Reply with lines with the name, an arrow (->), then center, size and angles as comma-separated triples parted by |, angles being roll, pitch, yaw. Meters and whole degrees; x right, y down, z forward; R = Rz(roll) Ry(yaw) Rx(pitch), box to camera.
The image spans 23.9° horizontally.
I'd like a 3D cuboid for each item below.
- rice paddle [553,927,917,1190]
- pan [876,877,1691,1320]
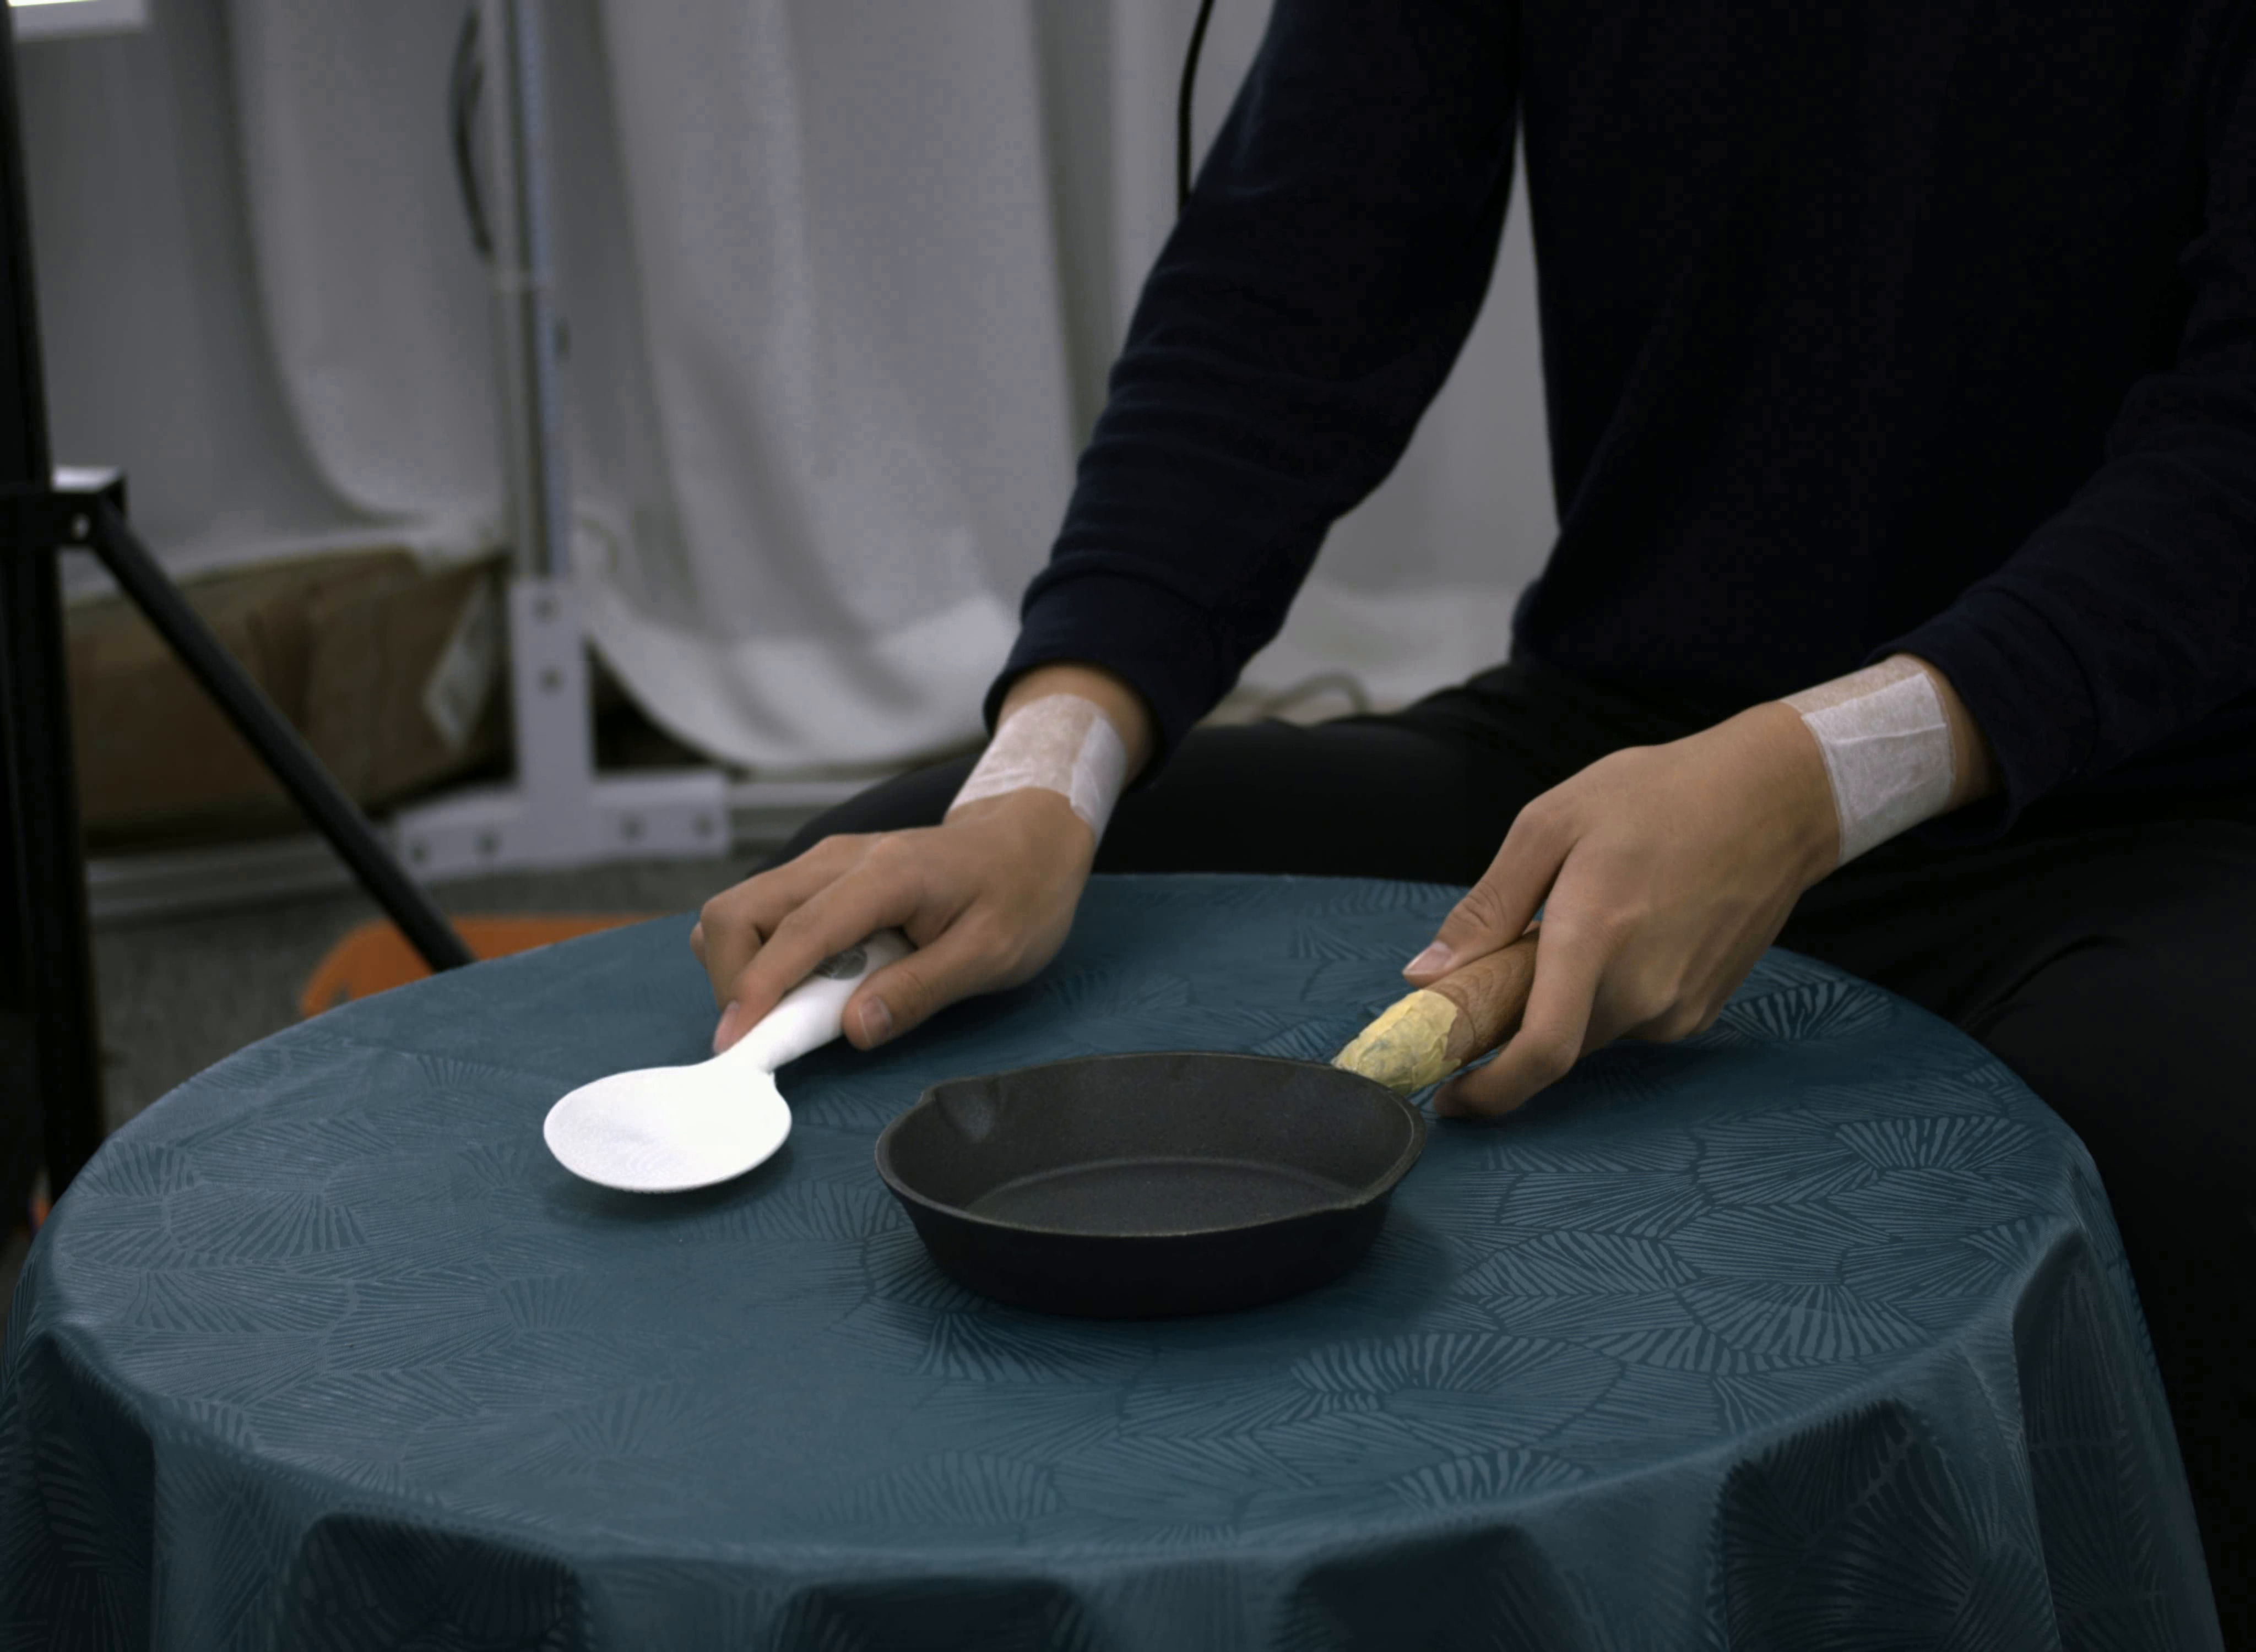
rice paddle -> -0.115, 0.074, 1.644 | 0.069, 0.029, 0.203 | 11, 19, 17
pan -> 0.065, 0.077, 1.564 | 0.317, 0.049, 0.173 | -20, 22, -41
